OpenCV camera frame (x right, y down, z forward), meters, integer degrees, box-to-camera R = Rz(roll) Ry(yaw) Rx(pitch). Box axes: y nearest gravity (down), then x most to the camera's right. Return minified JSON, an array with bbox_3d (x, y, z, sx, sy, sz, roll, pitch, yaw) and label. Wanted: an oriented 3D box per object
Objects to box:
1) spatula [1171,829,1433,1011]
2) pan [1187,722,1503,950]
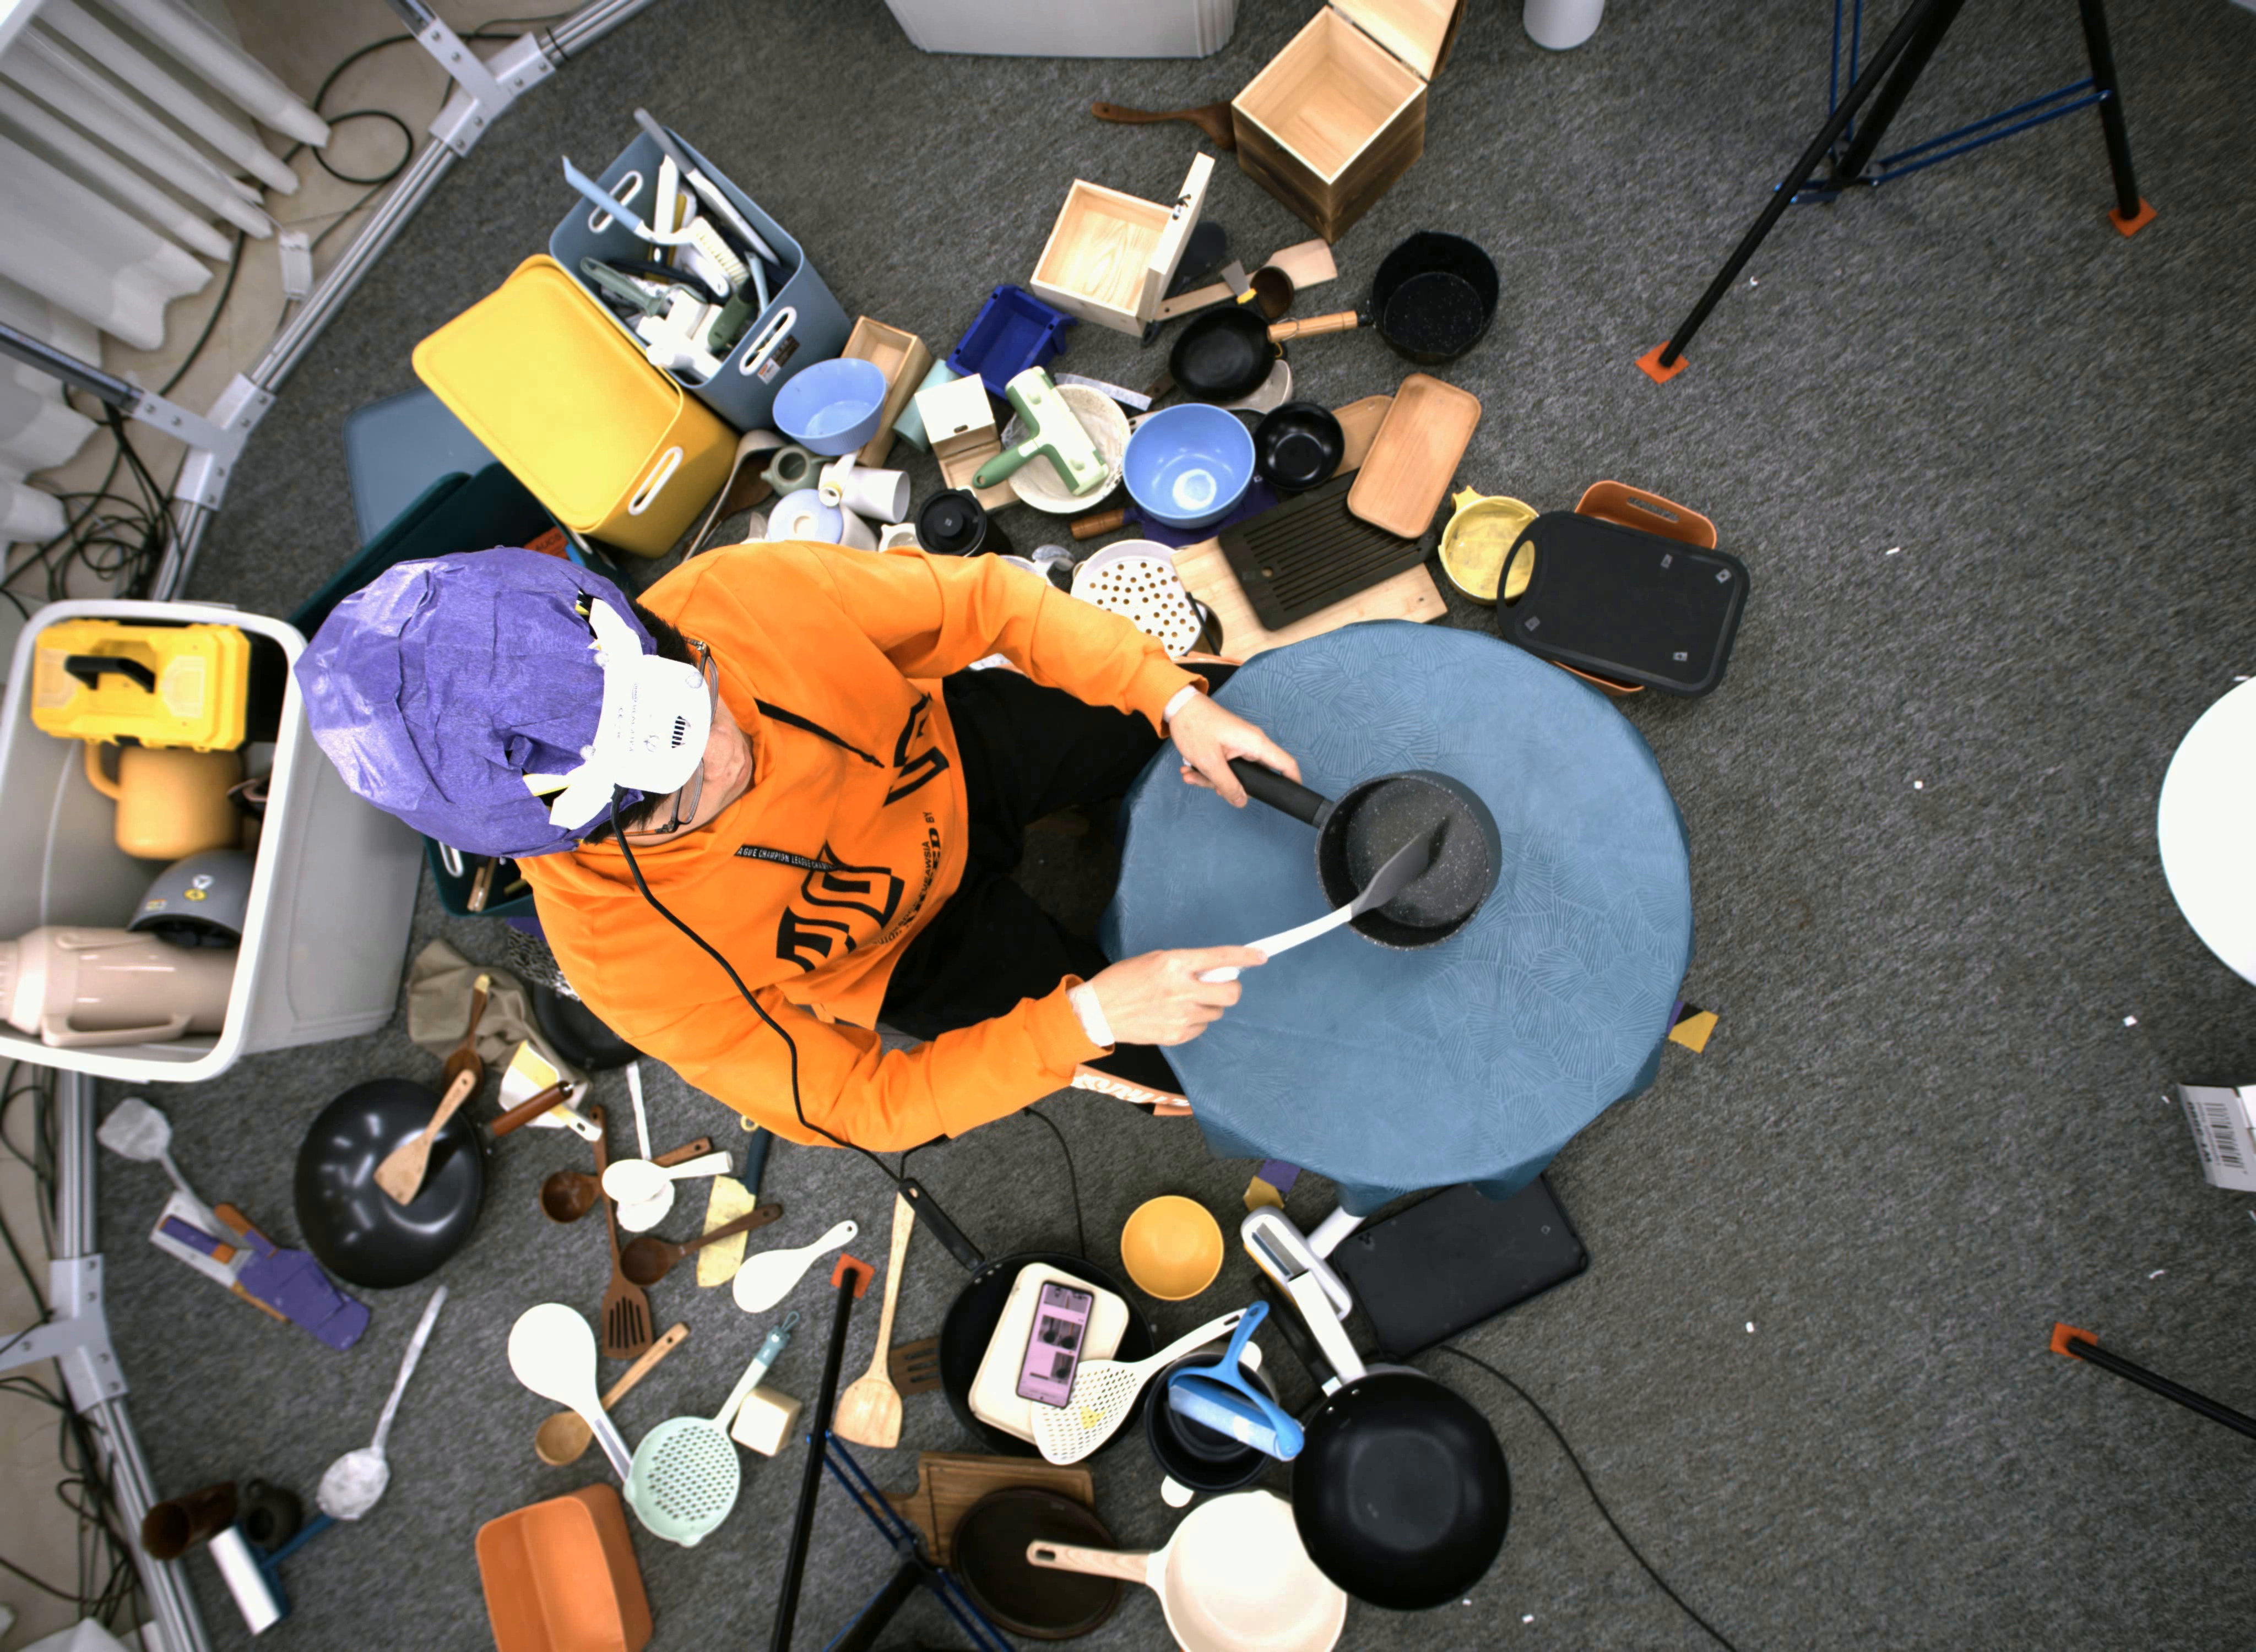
[{"bbox_3d":[0.172,0.090,1.305,0.286,0.060,0.031,-28,42,-7],"label":"spatula"},{"bbox_3d":[0.210,-0.011,1.361,0.327,0.085,0.175,32,112,17],"label":"pan"}]
